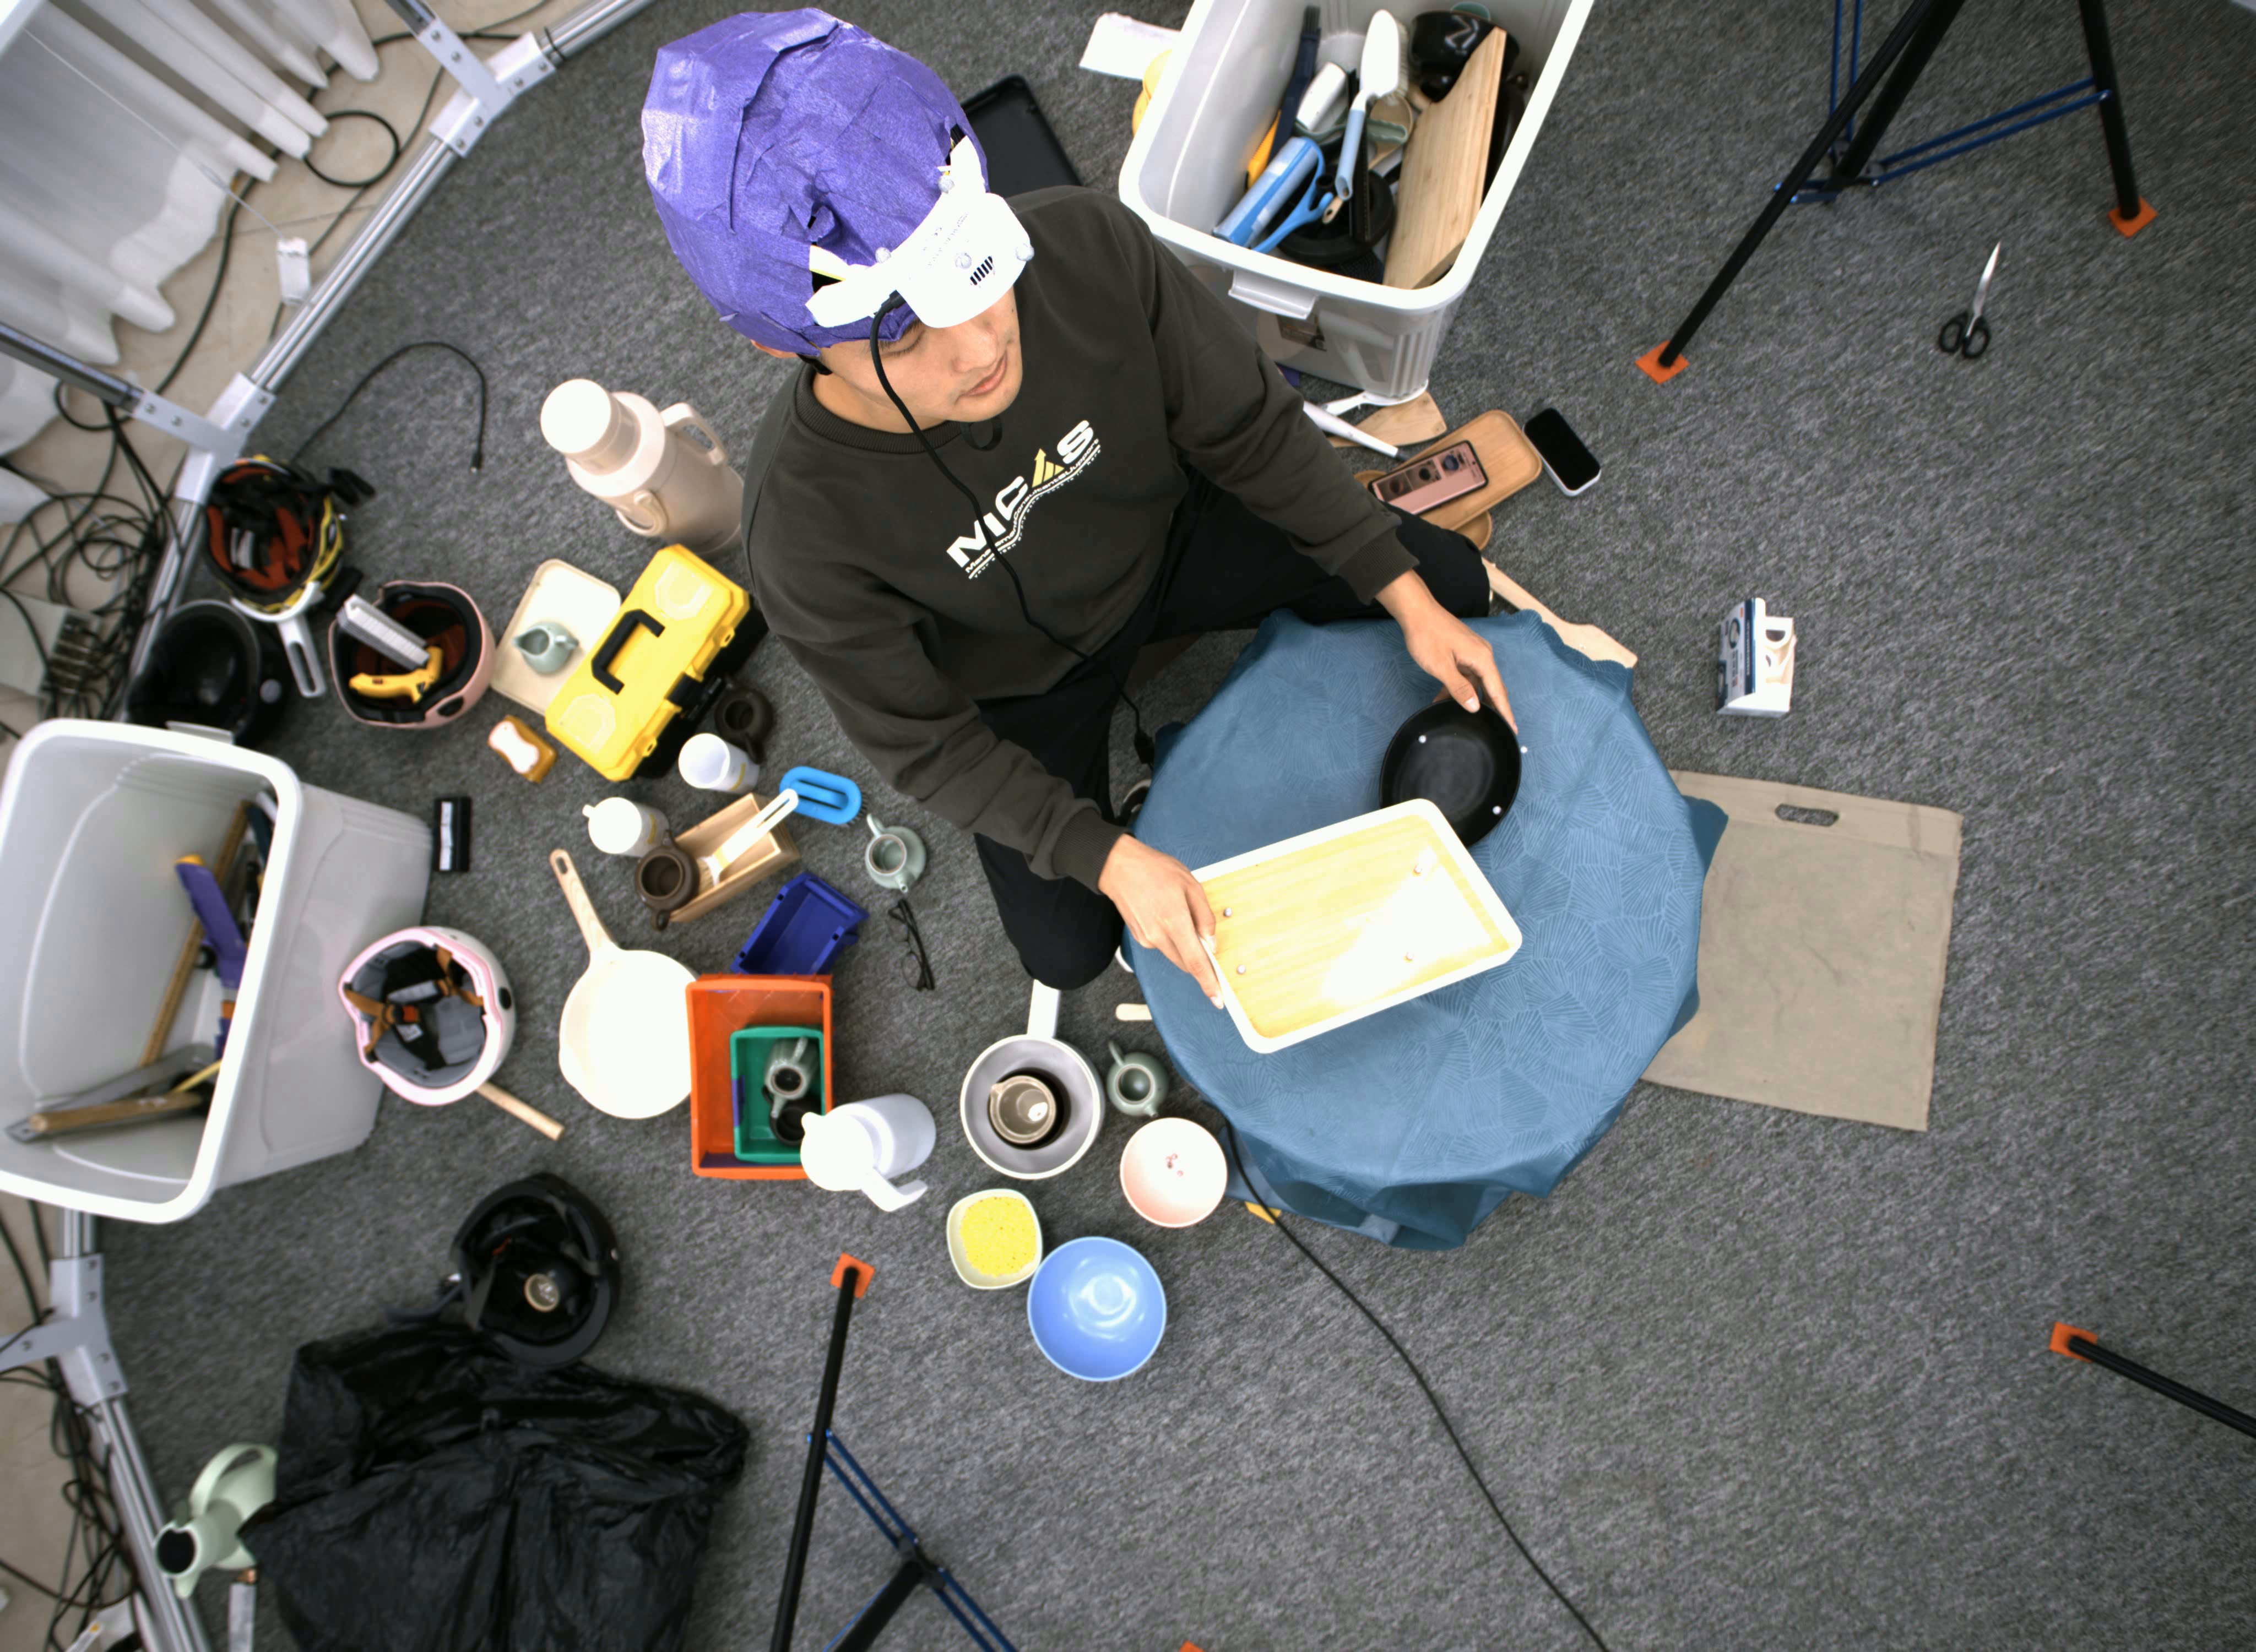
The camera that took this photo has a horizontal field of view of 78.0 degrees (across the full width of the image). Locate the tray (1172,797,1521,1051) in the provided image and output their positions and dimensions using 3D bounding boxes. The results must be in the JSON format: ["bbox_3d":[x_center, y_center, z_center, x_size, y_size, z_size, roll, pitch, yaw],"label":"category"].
[{"bbox_3d":[0.210,0.087,1.331,0.298,0.028,0.188,-18,62,-18],"label":"tray"}]

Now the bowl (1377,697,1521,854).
[{"bbox_3d":[0.331,-0.051,1.422,0.137,0.066,0.171,26,99,11],"label":"bowl"}]
